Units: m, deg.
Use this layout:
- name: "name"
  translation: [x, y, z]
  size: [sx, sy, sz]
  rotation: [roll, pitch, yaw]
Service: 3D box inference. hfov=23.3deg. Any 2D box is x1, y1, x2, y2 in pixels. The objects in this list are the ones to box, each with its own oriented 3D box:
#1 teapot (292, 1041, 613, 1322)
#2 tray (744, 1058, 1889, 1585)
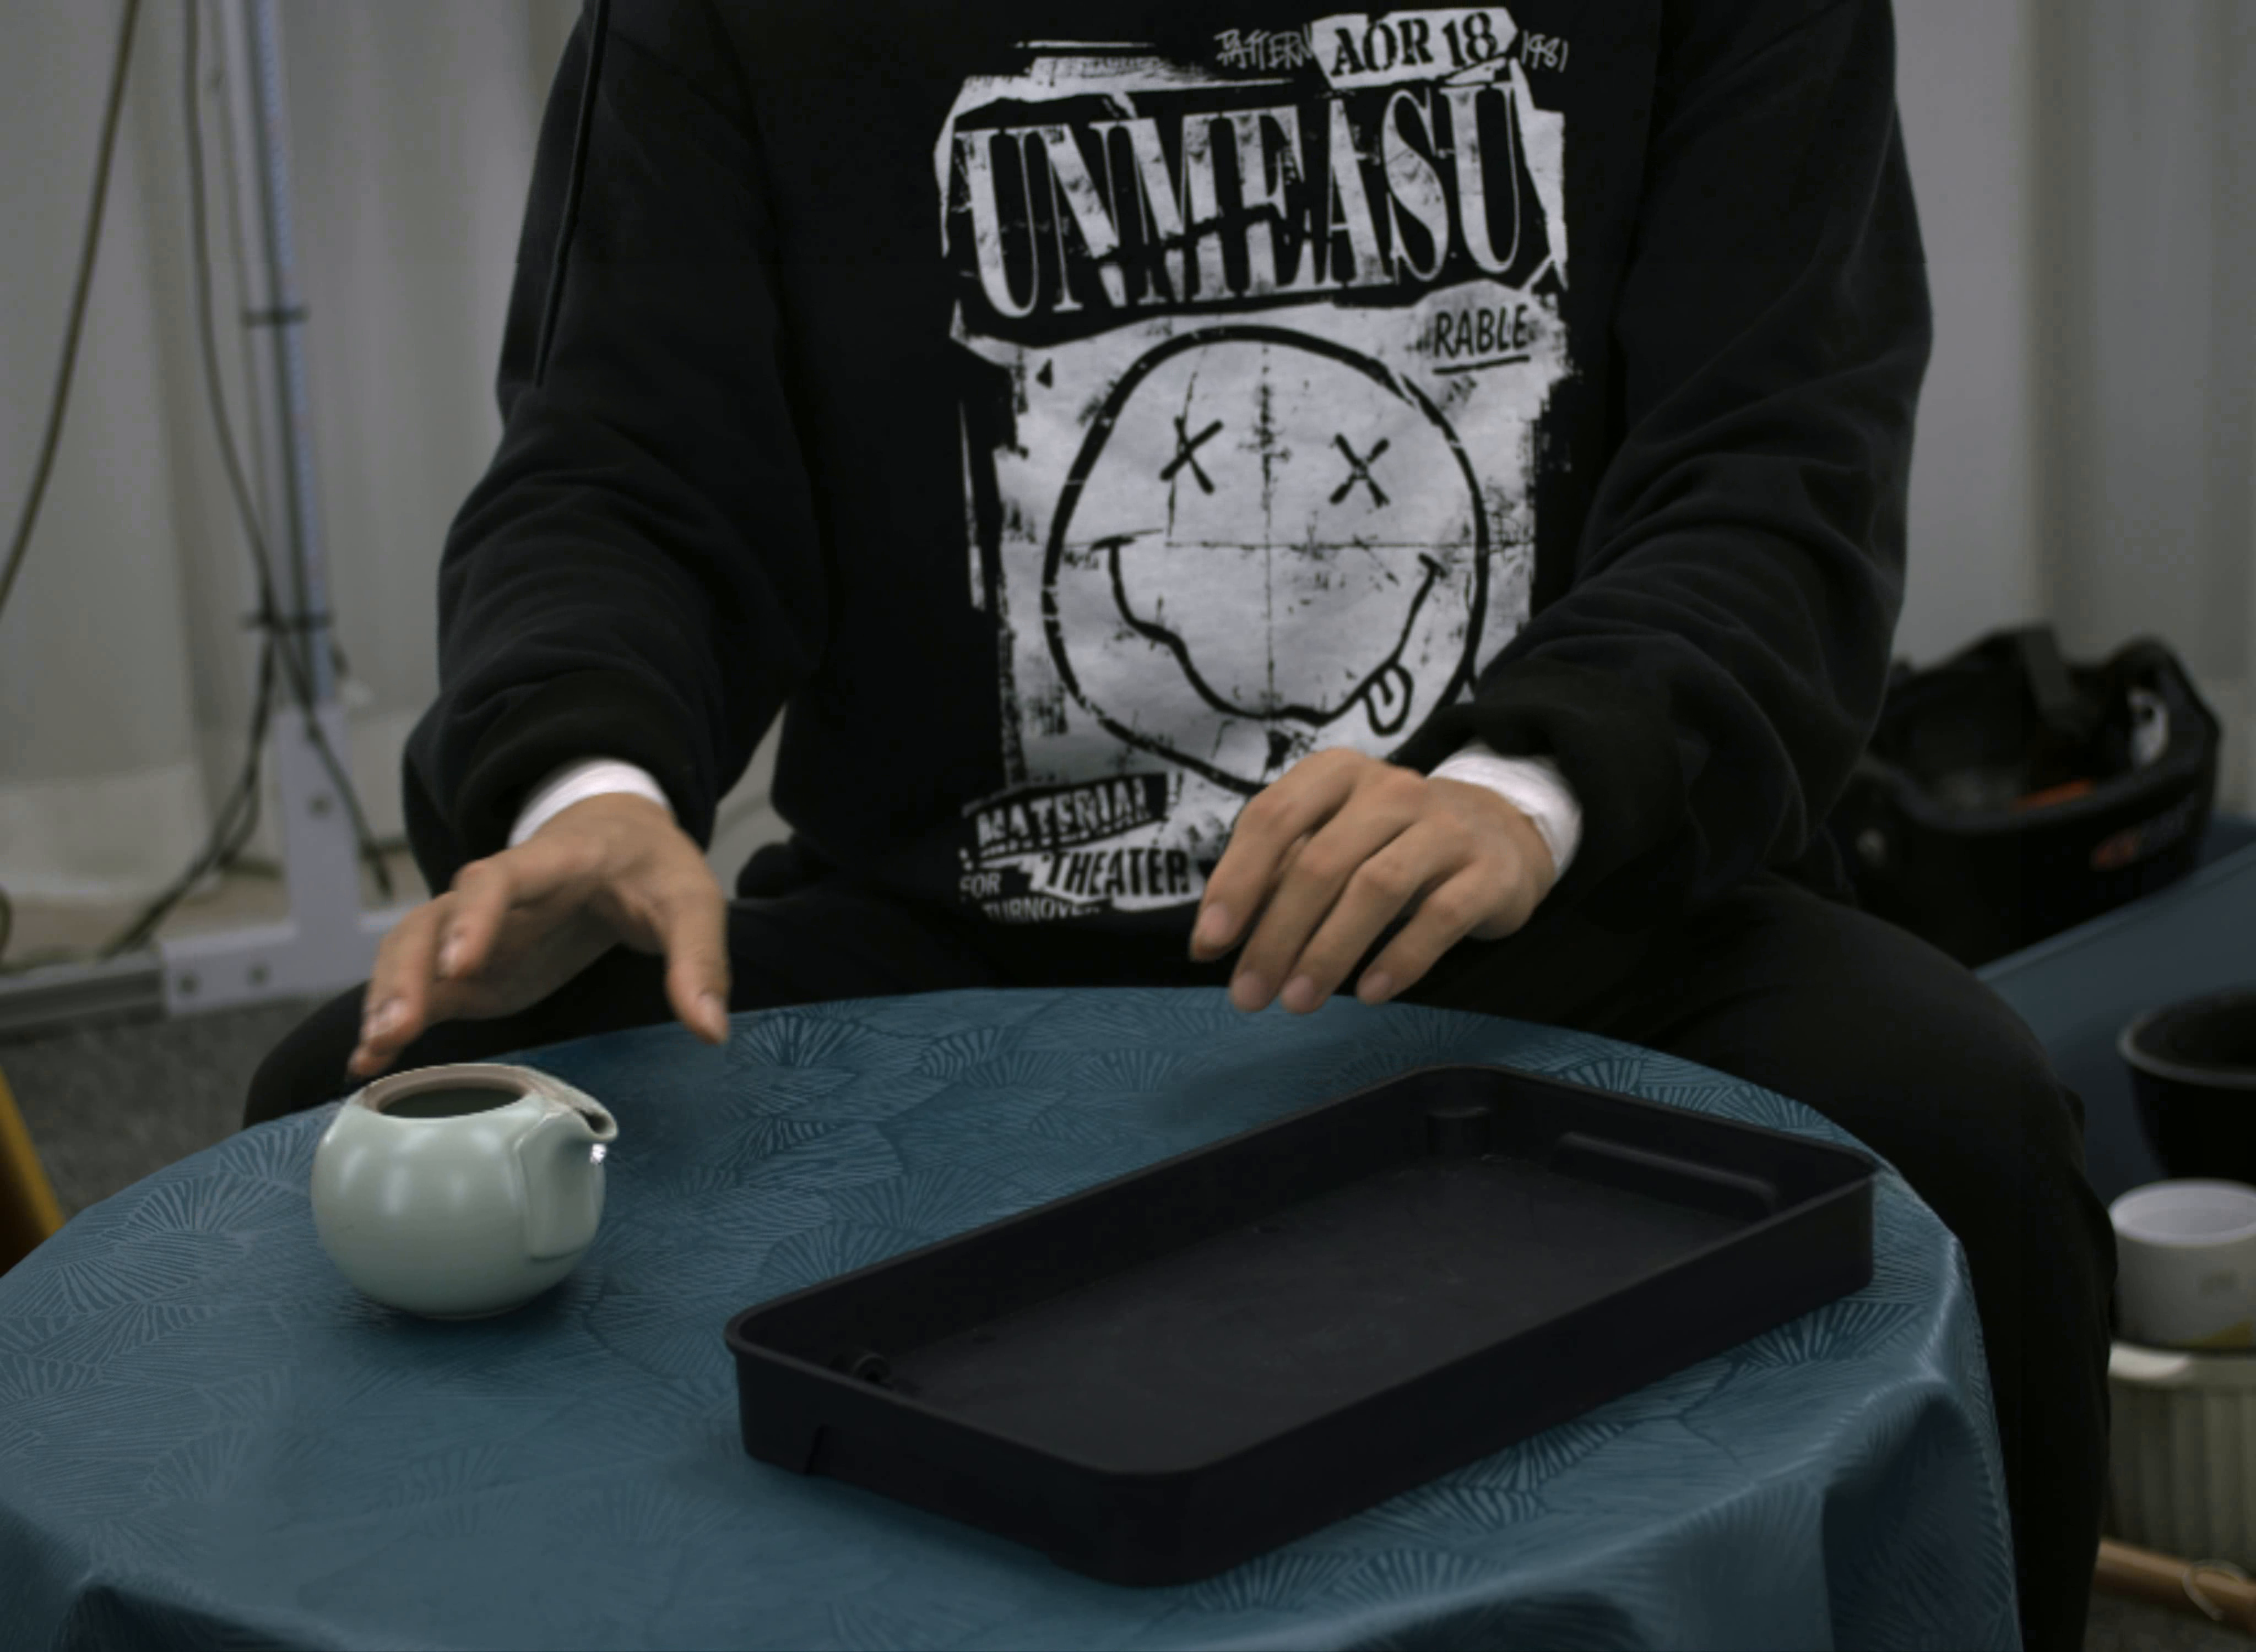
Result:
- name: "teapot"
  translation: [-0.200, 0.108, 1.639]
  size: [0.088, 0.074, 0.144]
  rotation: [-15, 16, -43]
- name: "tray"
  translation: [0.059, 0.134, 1.561]
  size: [0.185, 0.037, 0.317]
  rotation: [10, 20, 42]
